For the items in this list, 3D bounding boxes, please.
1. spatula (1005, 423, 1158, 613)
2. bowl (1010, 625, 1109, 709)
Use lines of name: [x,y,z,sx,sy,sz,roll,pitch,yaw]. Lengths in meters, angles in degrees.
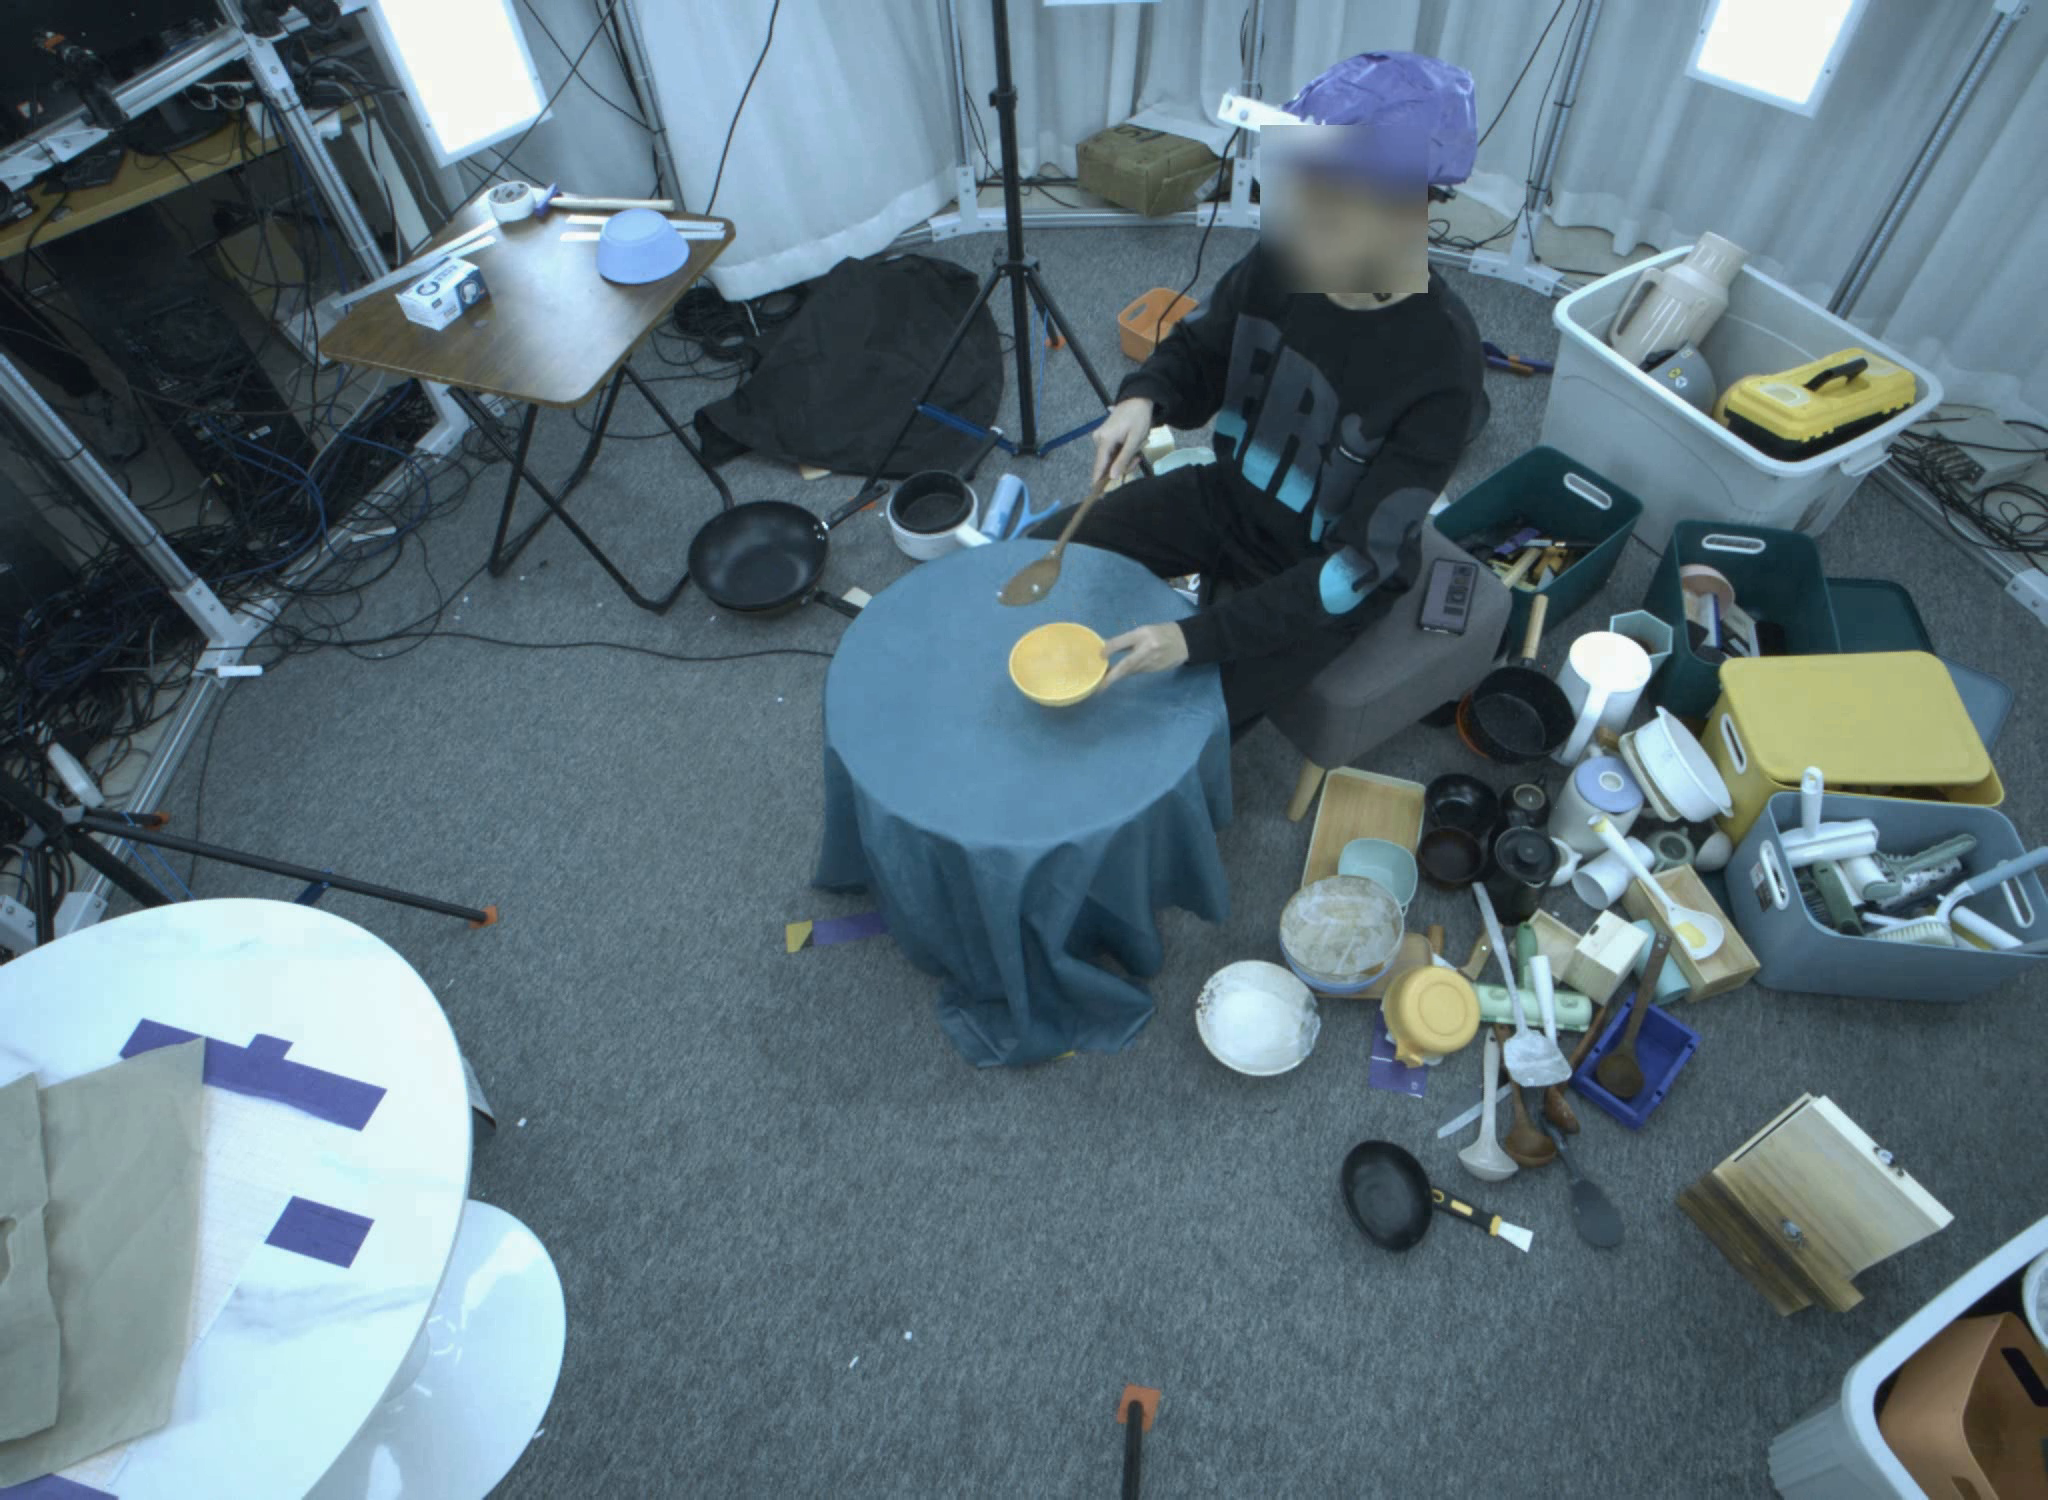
spatula: [0.096,-0.350,1.807,0.094,0.016,0.386,13,65,49]
bowl: [0.054,-0.110,1.807,0.145,0.061,0.144,-1,56,3]
